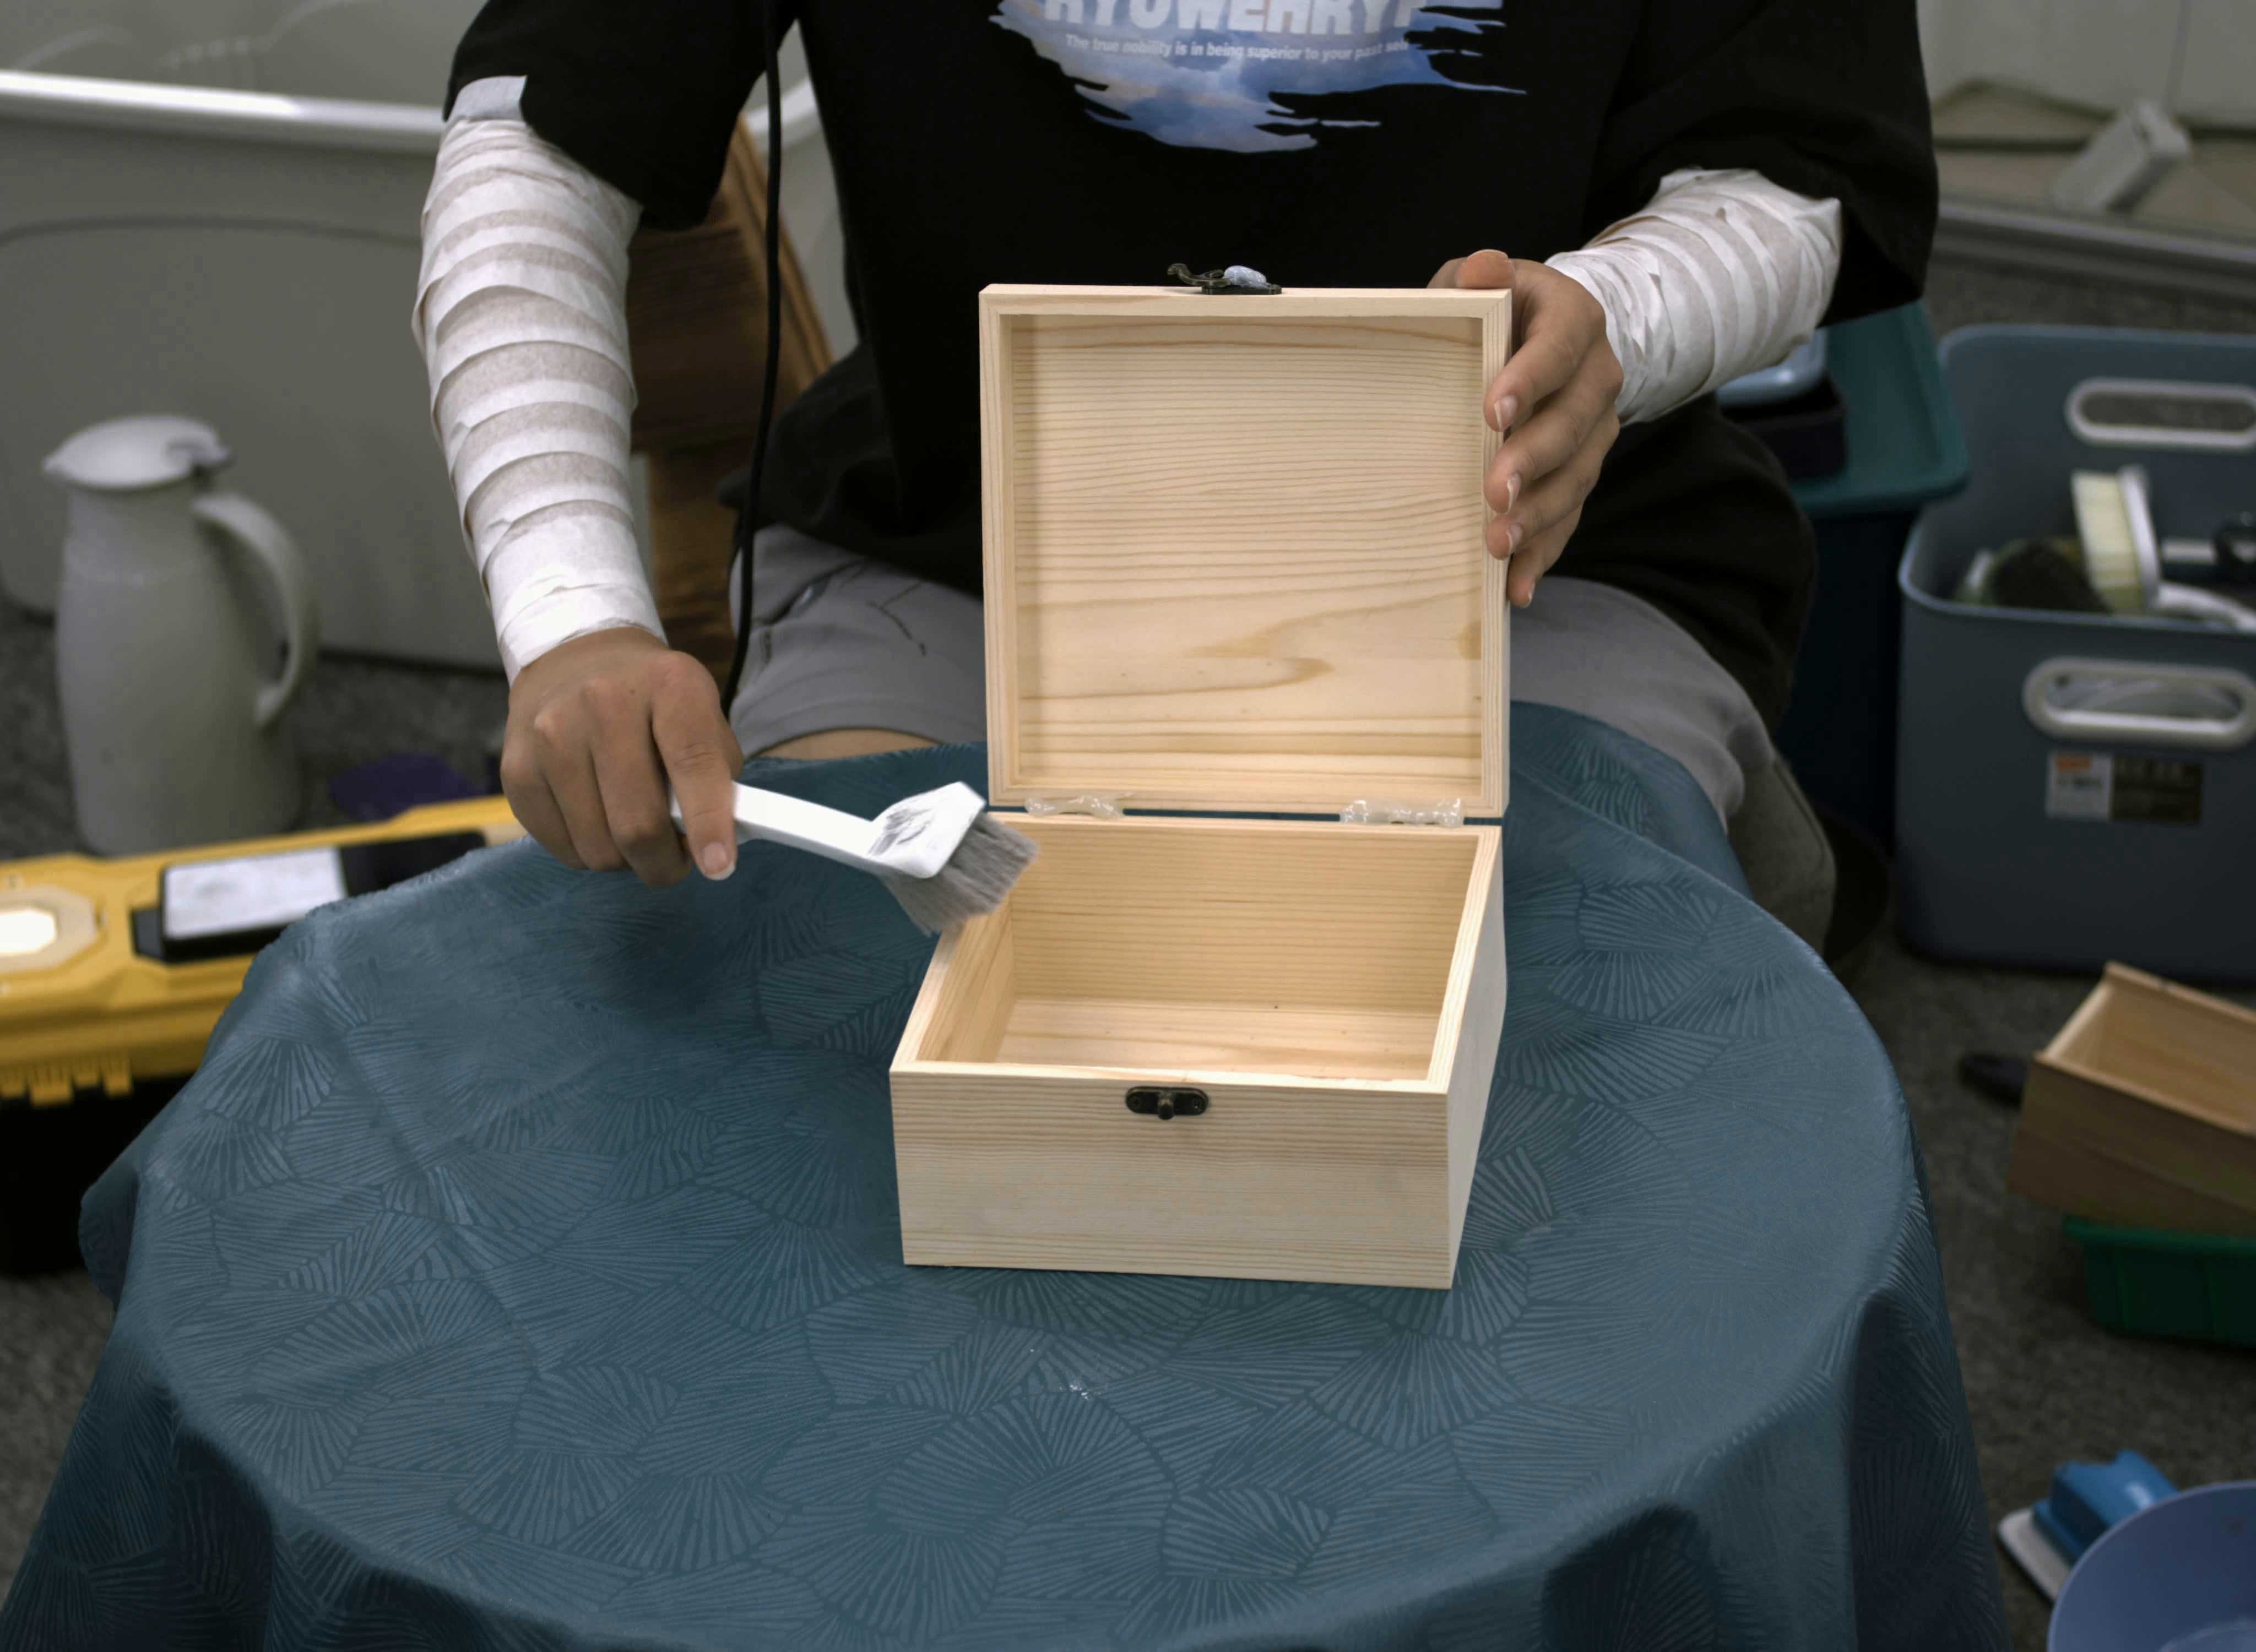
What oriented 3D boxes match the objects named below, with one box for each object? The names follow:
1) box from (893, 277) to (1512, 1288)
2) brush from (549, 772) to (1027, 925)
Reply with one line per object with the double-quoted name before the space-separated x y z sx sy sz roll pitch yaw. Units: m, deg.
"box" 0.028 -0.021 1.869 0.180 0.251 0.269 0 26 9
"brush" -0.118 0.006 1.933 0.241 0.050 0.035 2 52 52
